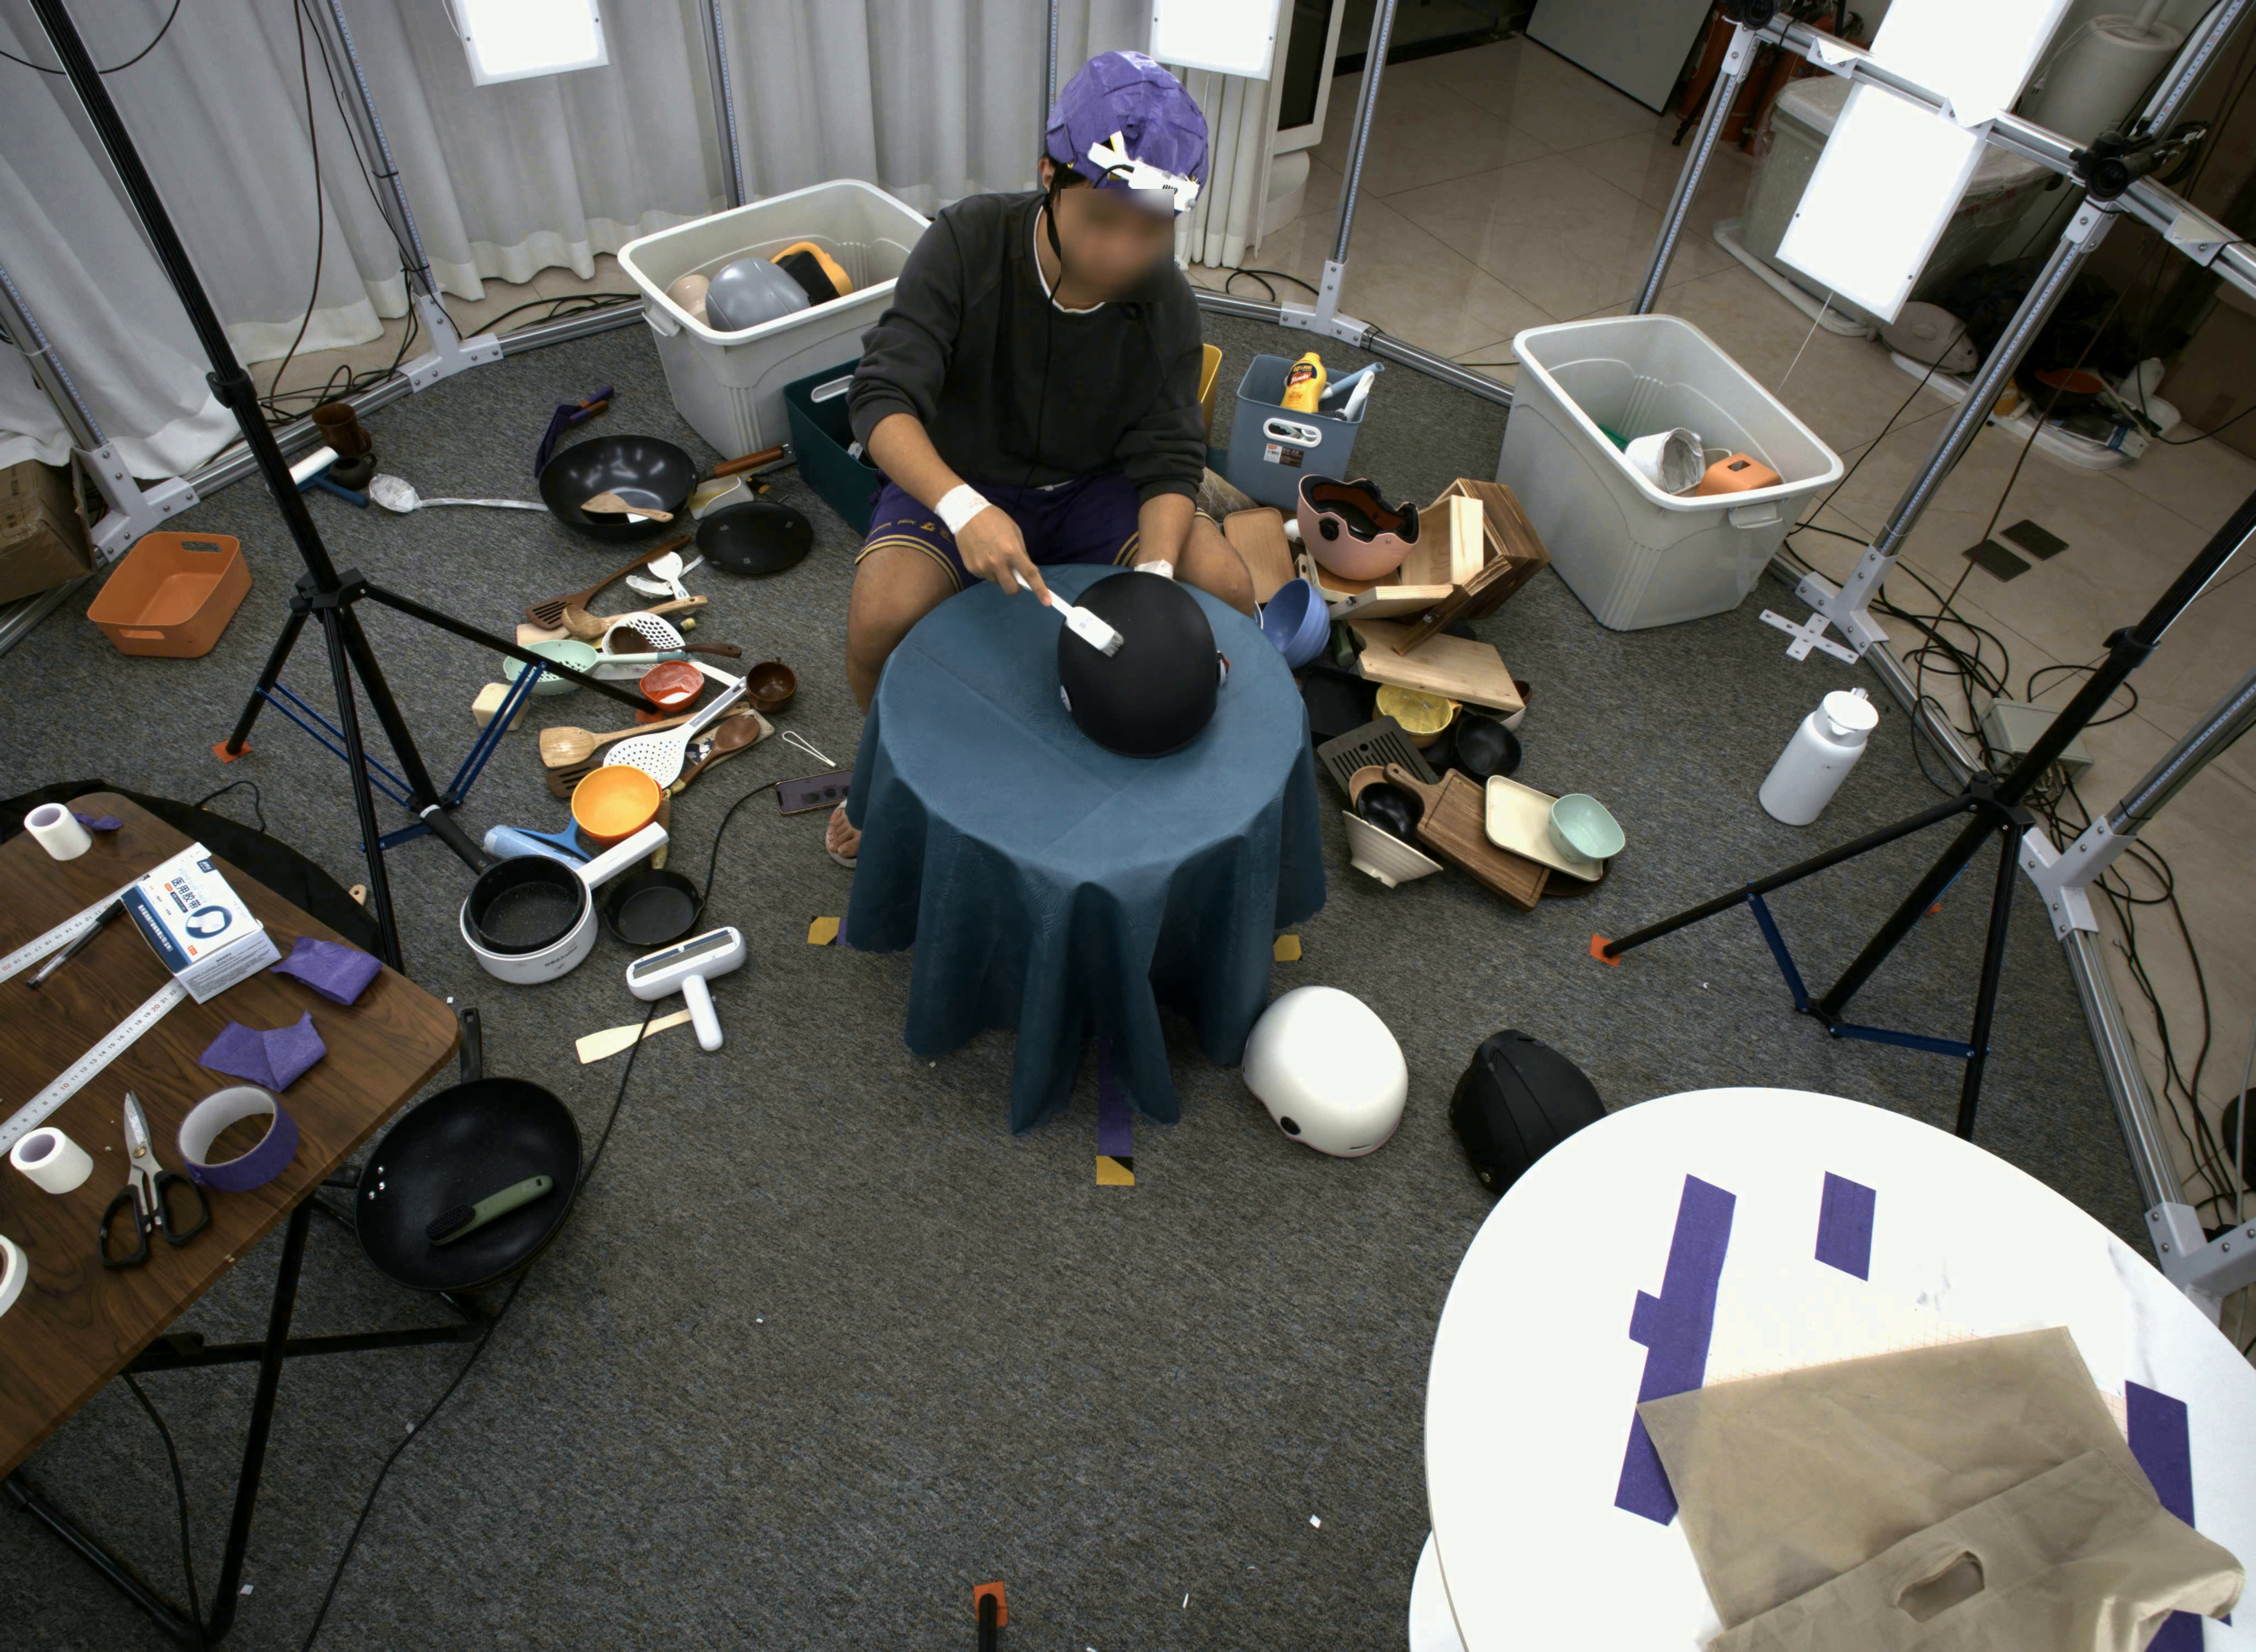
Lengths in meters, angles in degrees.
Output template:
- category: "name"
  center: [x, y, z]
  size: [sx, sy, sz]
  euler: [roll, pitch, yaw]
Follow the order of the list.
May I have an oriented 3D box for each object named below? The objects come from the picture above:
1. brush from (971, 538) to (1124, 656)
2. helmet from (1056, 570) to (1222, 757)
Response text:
- category: "brush"
  center: [-0.107, -0.304, 1.702]
  size: [0.246, 0.050, 0.034]
  euler: [37, 94, 16]
- category: "helmet"
  center: [0.011, -0.246, 1.769]
  size: [0.230, 0.163, 0.280]
  euler: [-8, 54, -1]
